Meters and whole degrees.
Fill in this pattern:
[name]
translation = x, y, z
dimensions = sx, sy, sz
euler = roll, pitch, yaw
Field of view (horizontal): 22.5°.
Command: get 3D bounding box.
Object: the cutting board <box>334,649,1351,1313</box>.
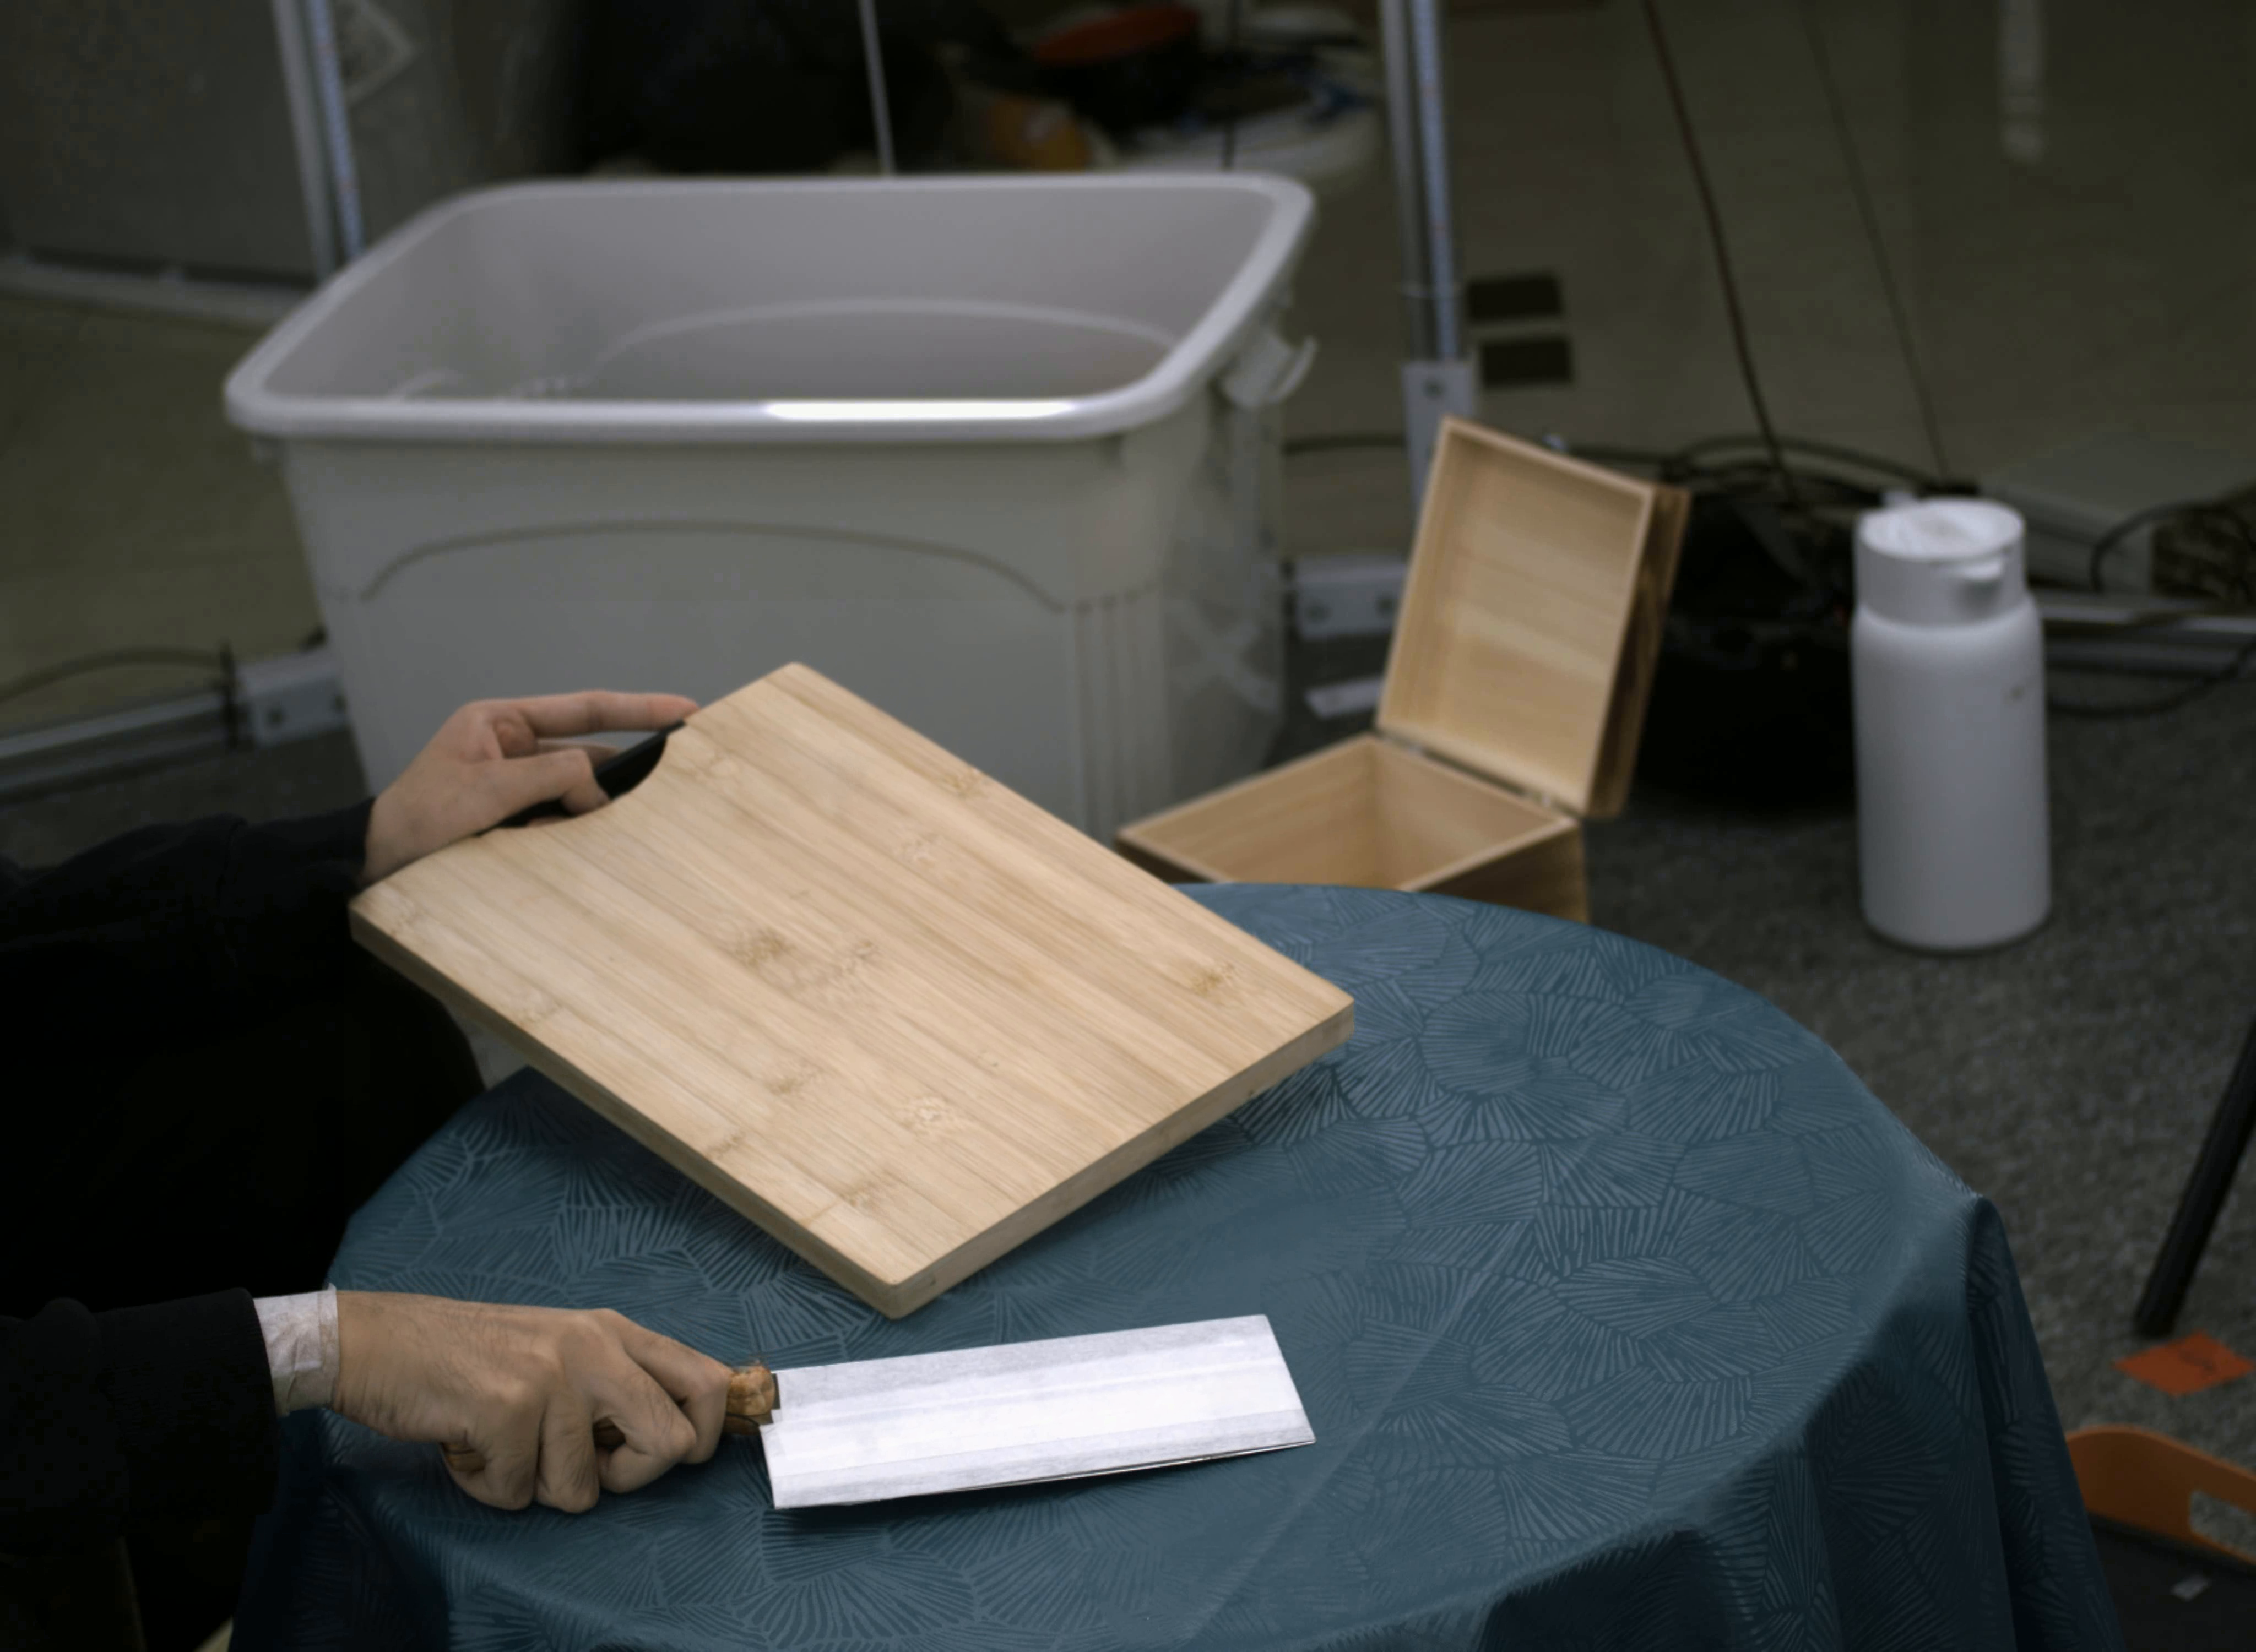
[cutting board]
translation = -0.117, 0.054, 2.238
dimensions = 0.248, 0.024, 0.345
euler = -31, 45, -32

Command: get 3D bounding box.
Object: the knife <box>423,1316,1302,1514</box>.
[knife]
translation = -0.092, 0.210, 1.989
dimensions = 0.305, 0.021, 0.091
euler = -6, 26, -8
